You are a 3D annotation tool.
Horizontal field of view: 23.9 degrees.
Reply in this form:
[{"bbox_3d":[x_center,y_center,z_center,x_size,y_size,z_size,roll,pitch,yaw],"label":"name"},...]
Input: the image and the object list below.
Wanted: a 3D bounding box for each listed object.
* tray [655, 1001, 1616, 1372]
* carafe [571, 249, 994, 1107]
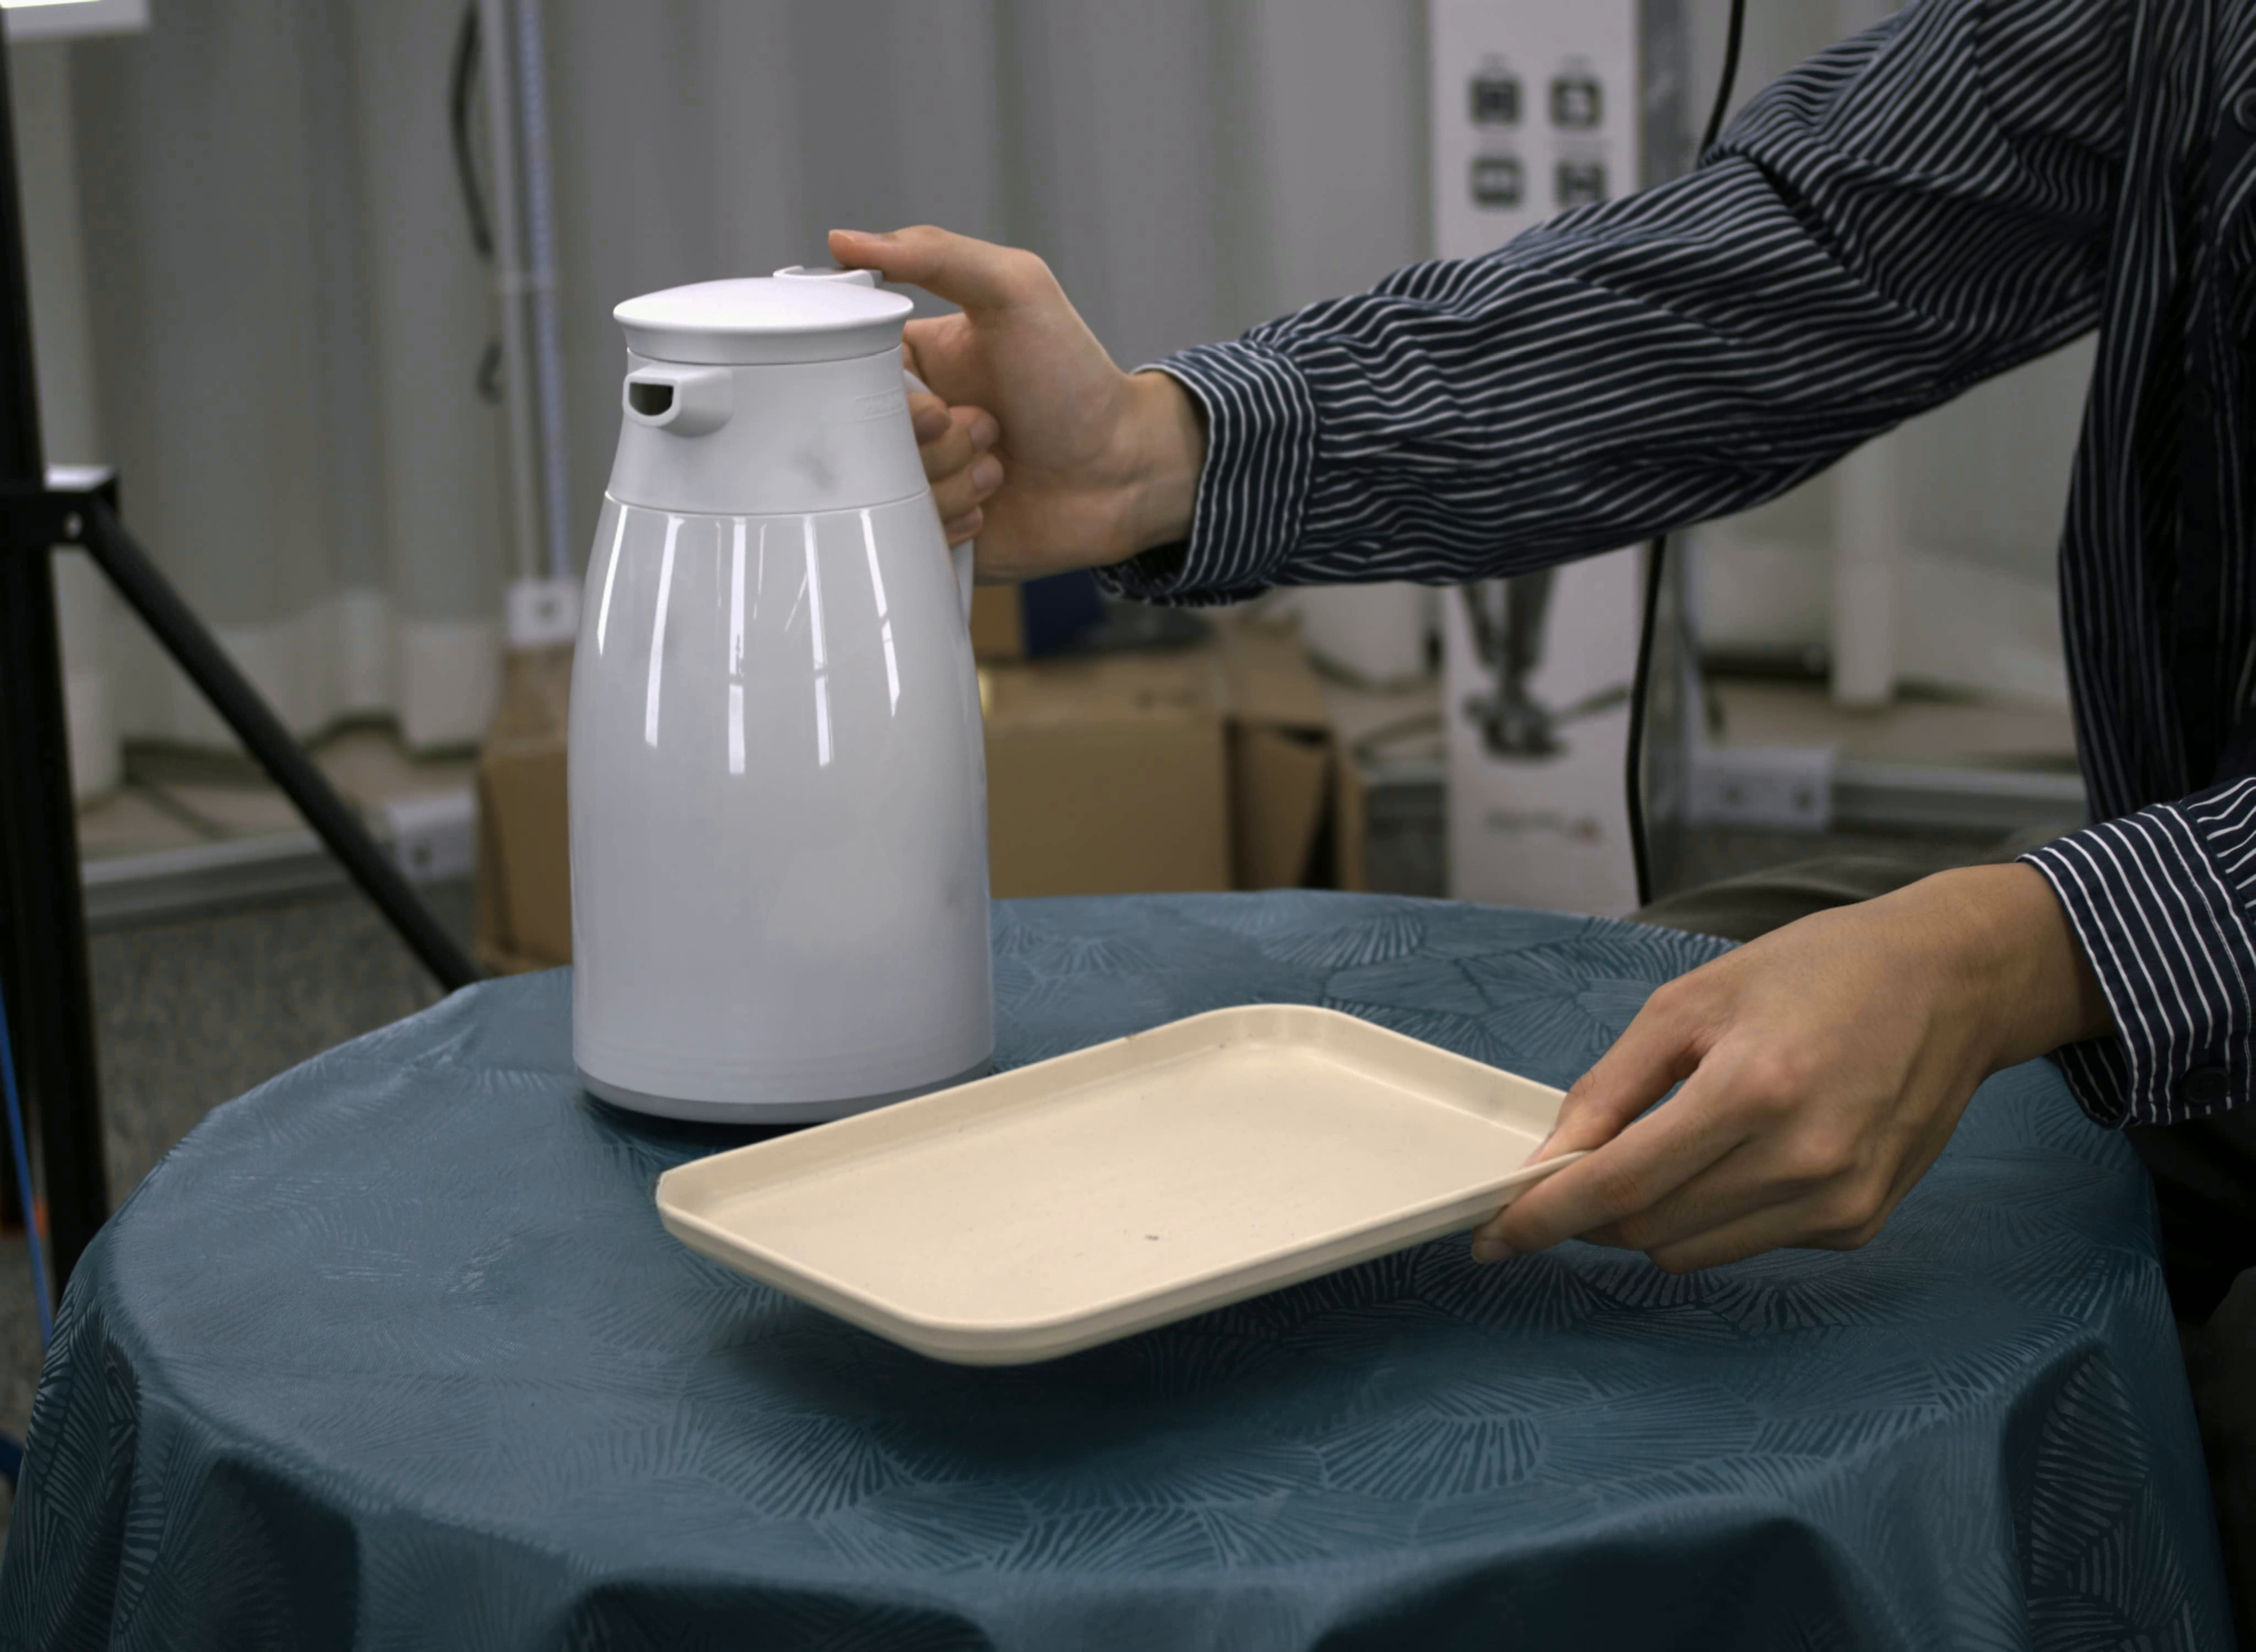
[{"bbox_3d":[0.003,0.098,1.464,0.234,0.017,0.175,-14,20,-34],"label":"tray"},{"bbox_3d":[-0.102,-0.053,1.668,0.134,0.249,0.165,5,13,25],"label":"carafe"}]
